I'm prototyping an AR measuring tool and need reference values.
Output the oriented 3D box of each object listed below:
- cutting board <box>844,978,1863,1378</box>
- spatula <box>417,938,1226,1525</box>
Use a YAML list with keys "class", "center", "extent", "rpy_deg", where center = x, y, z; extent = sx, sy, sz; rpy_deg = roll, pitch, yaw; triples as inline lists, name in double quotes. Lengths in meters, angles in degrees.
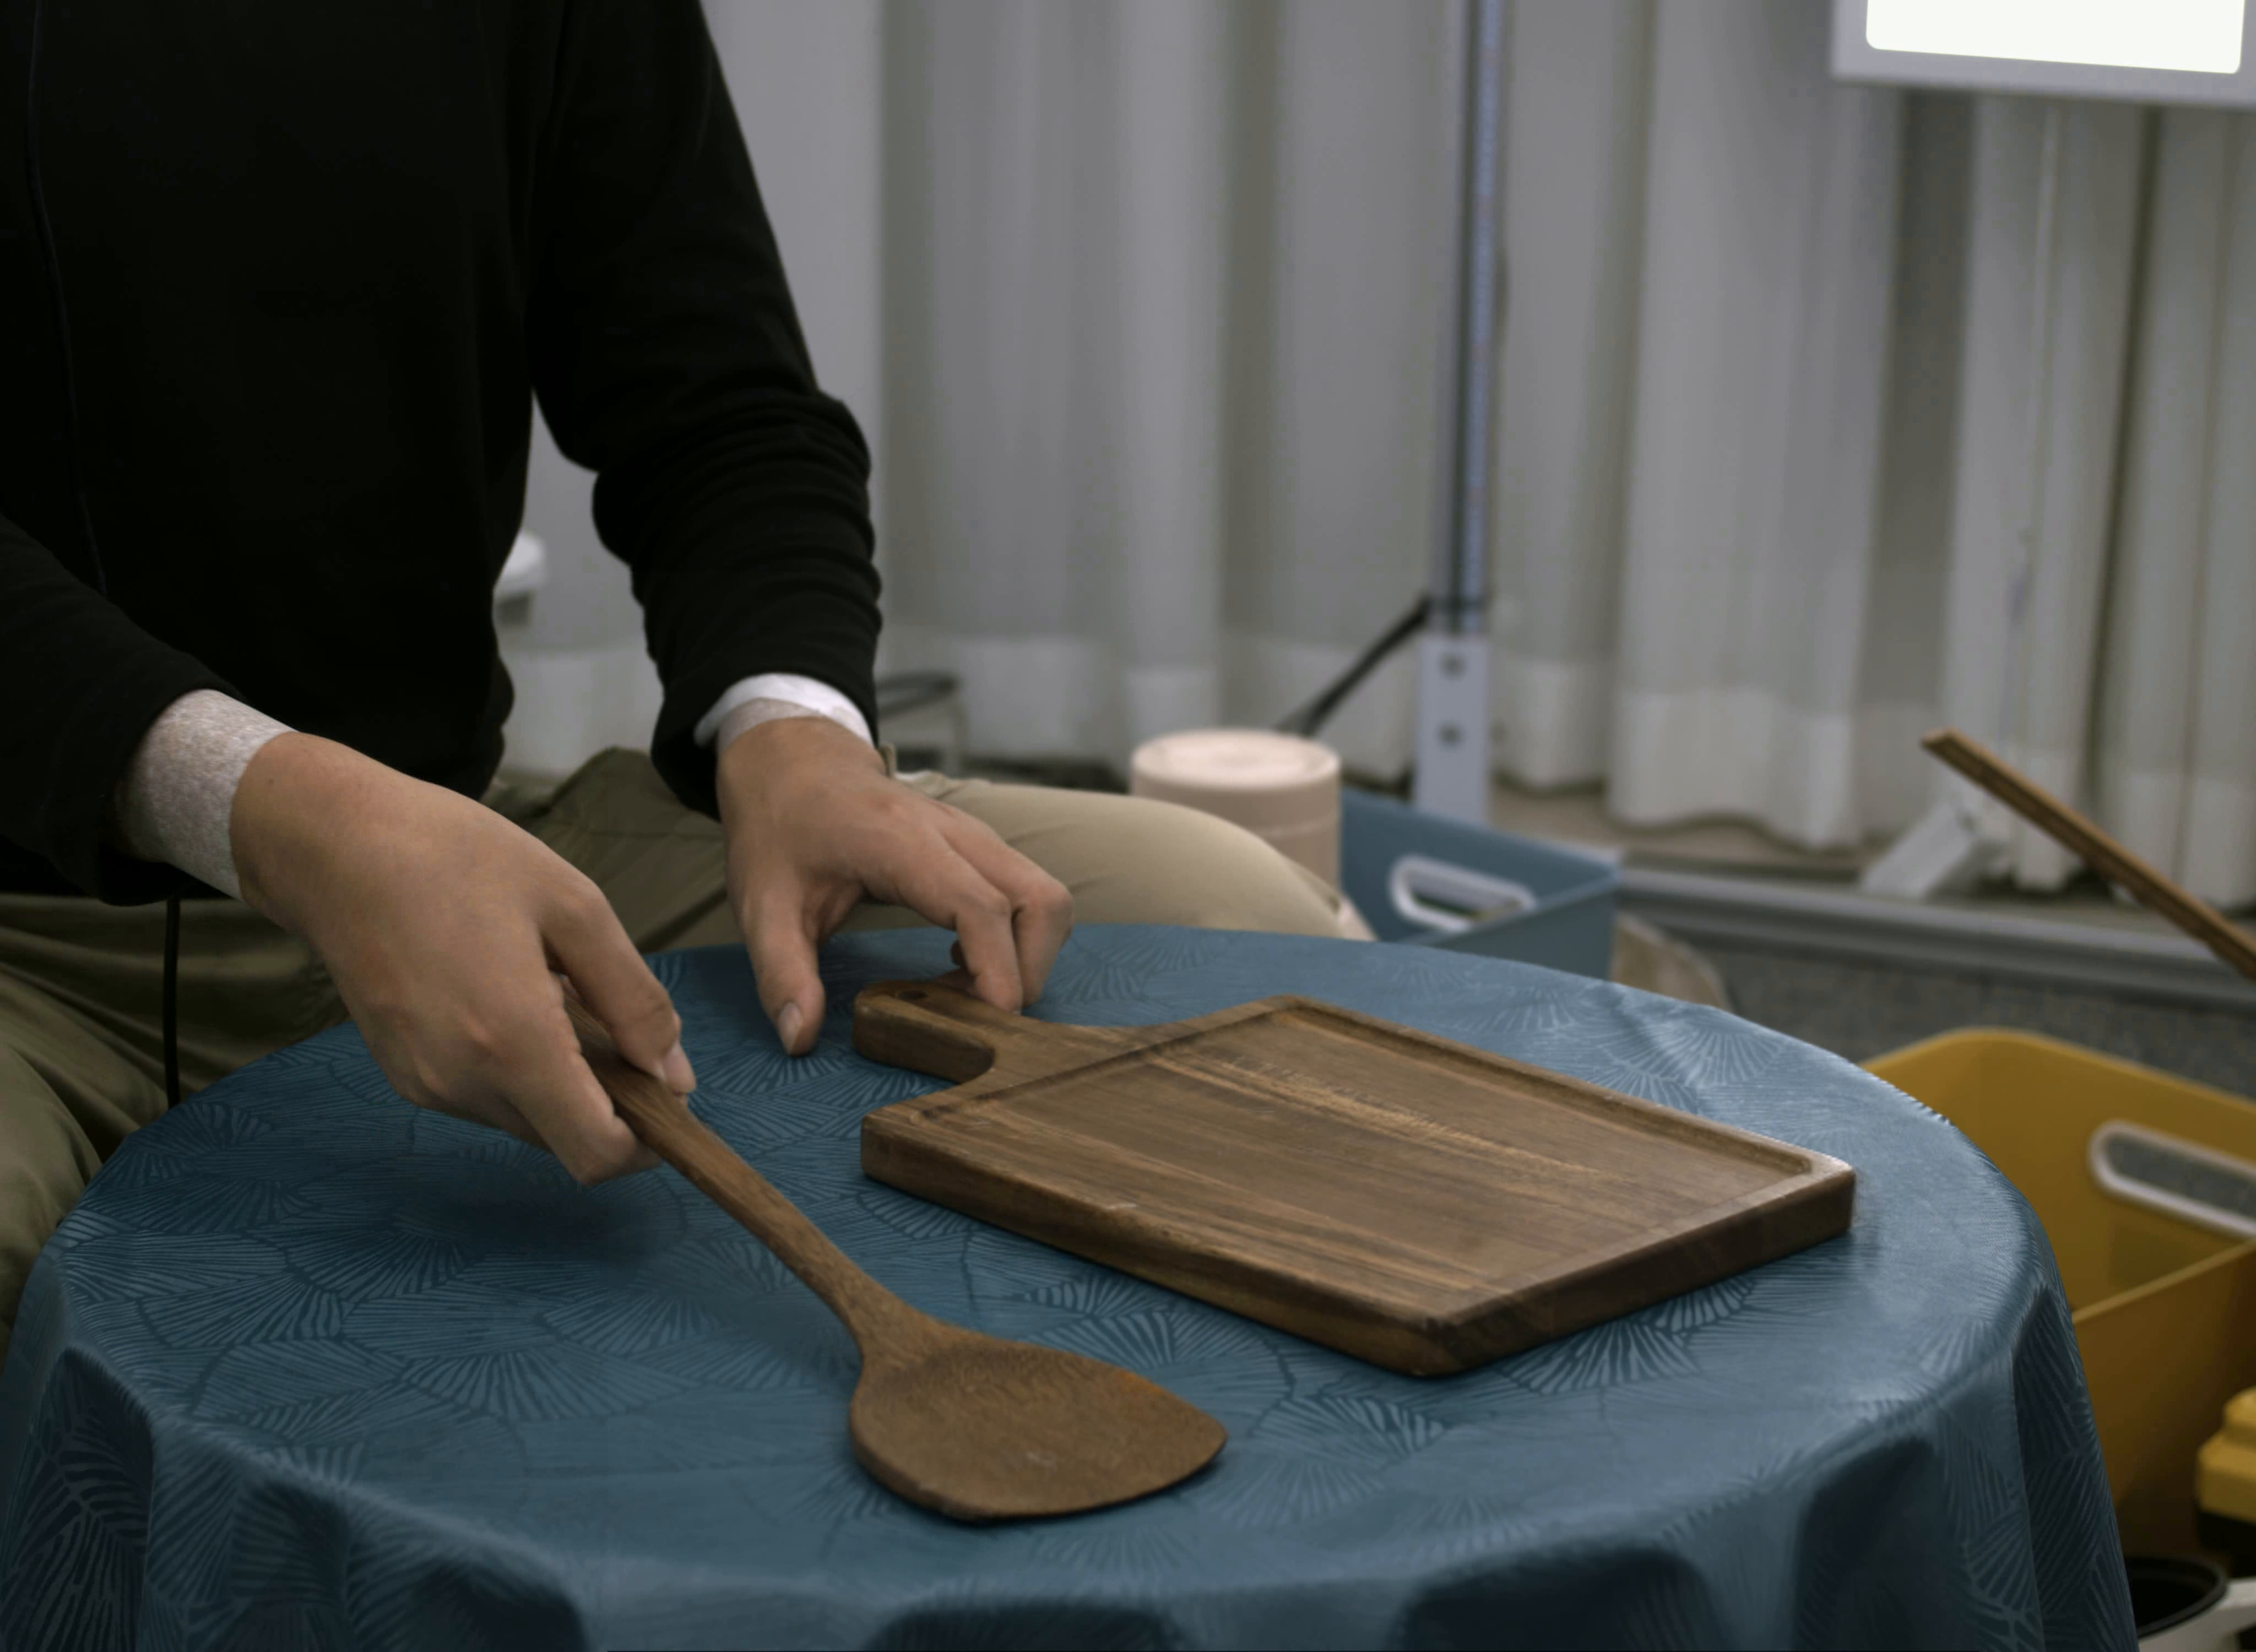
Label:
- class: "cutting board"
  center: [0.036, 0.095, 1.645]
  extent: [0.202, 0.023, 0.347]
  rpy_deg: [-14, 21, -43]
- class: "spatula"
  center: [-0.111, 0.107, 1.518]
  extent: [0.096, 0.016, 0.380]
  rpy_deg: [-11, 29, -34]
